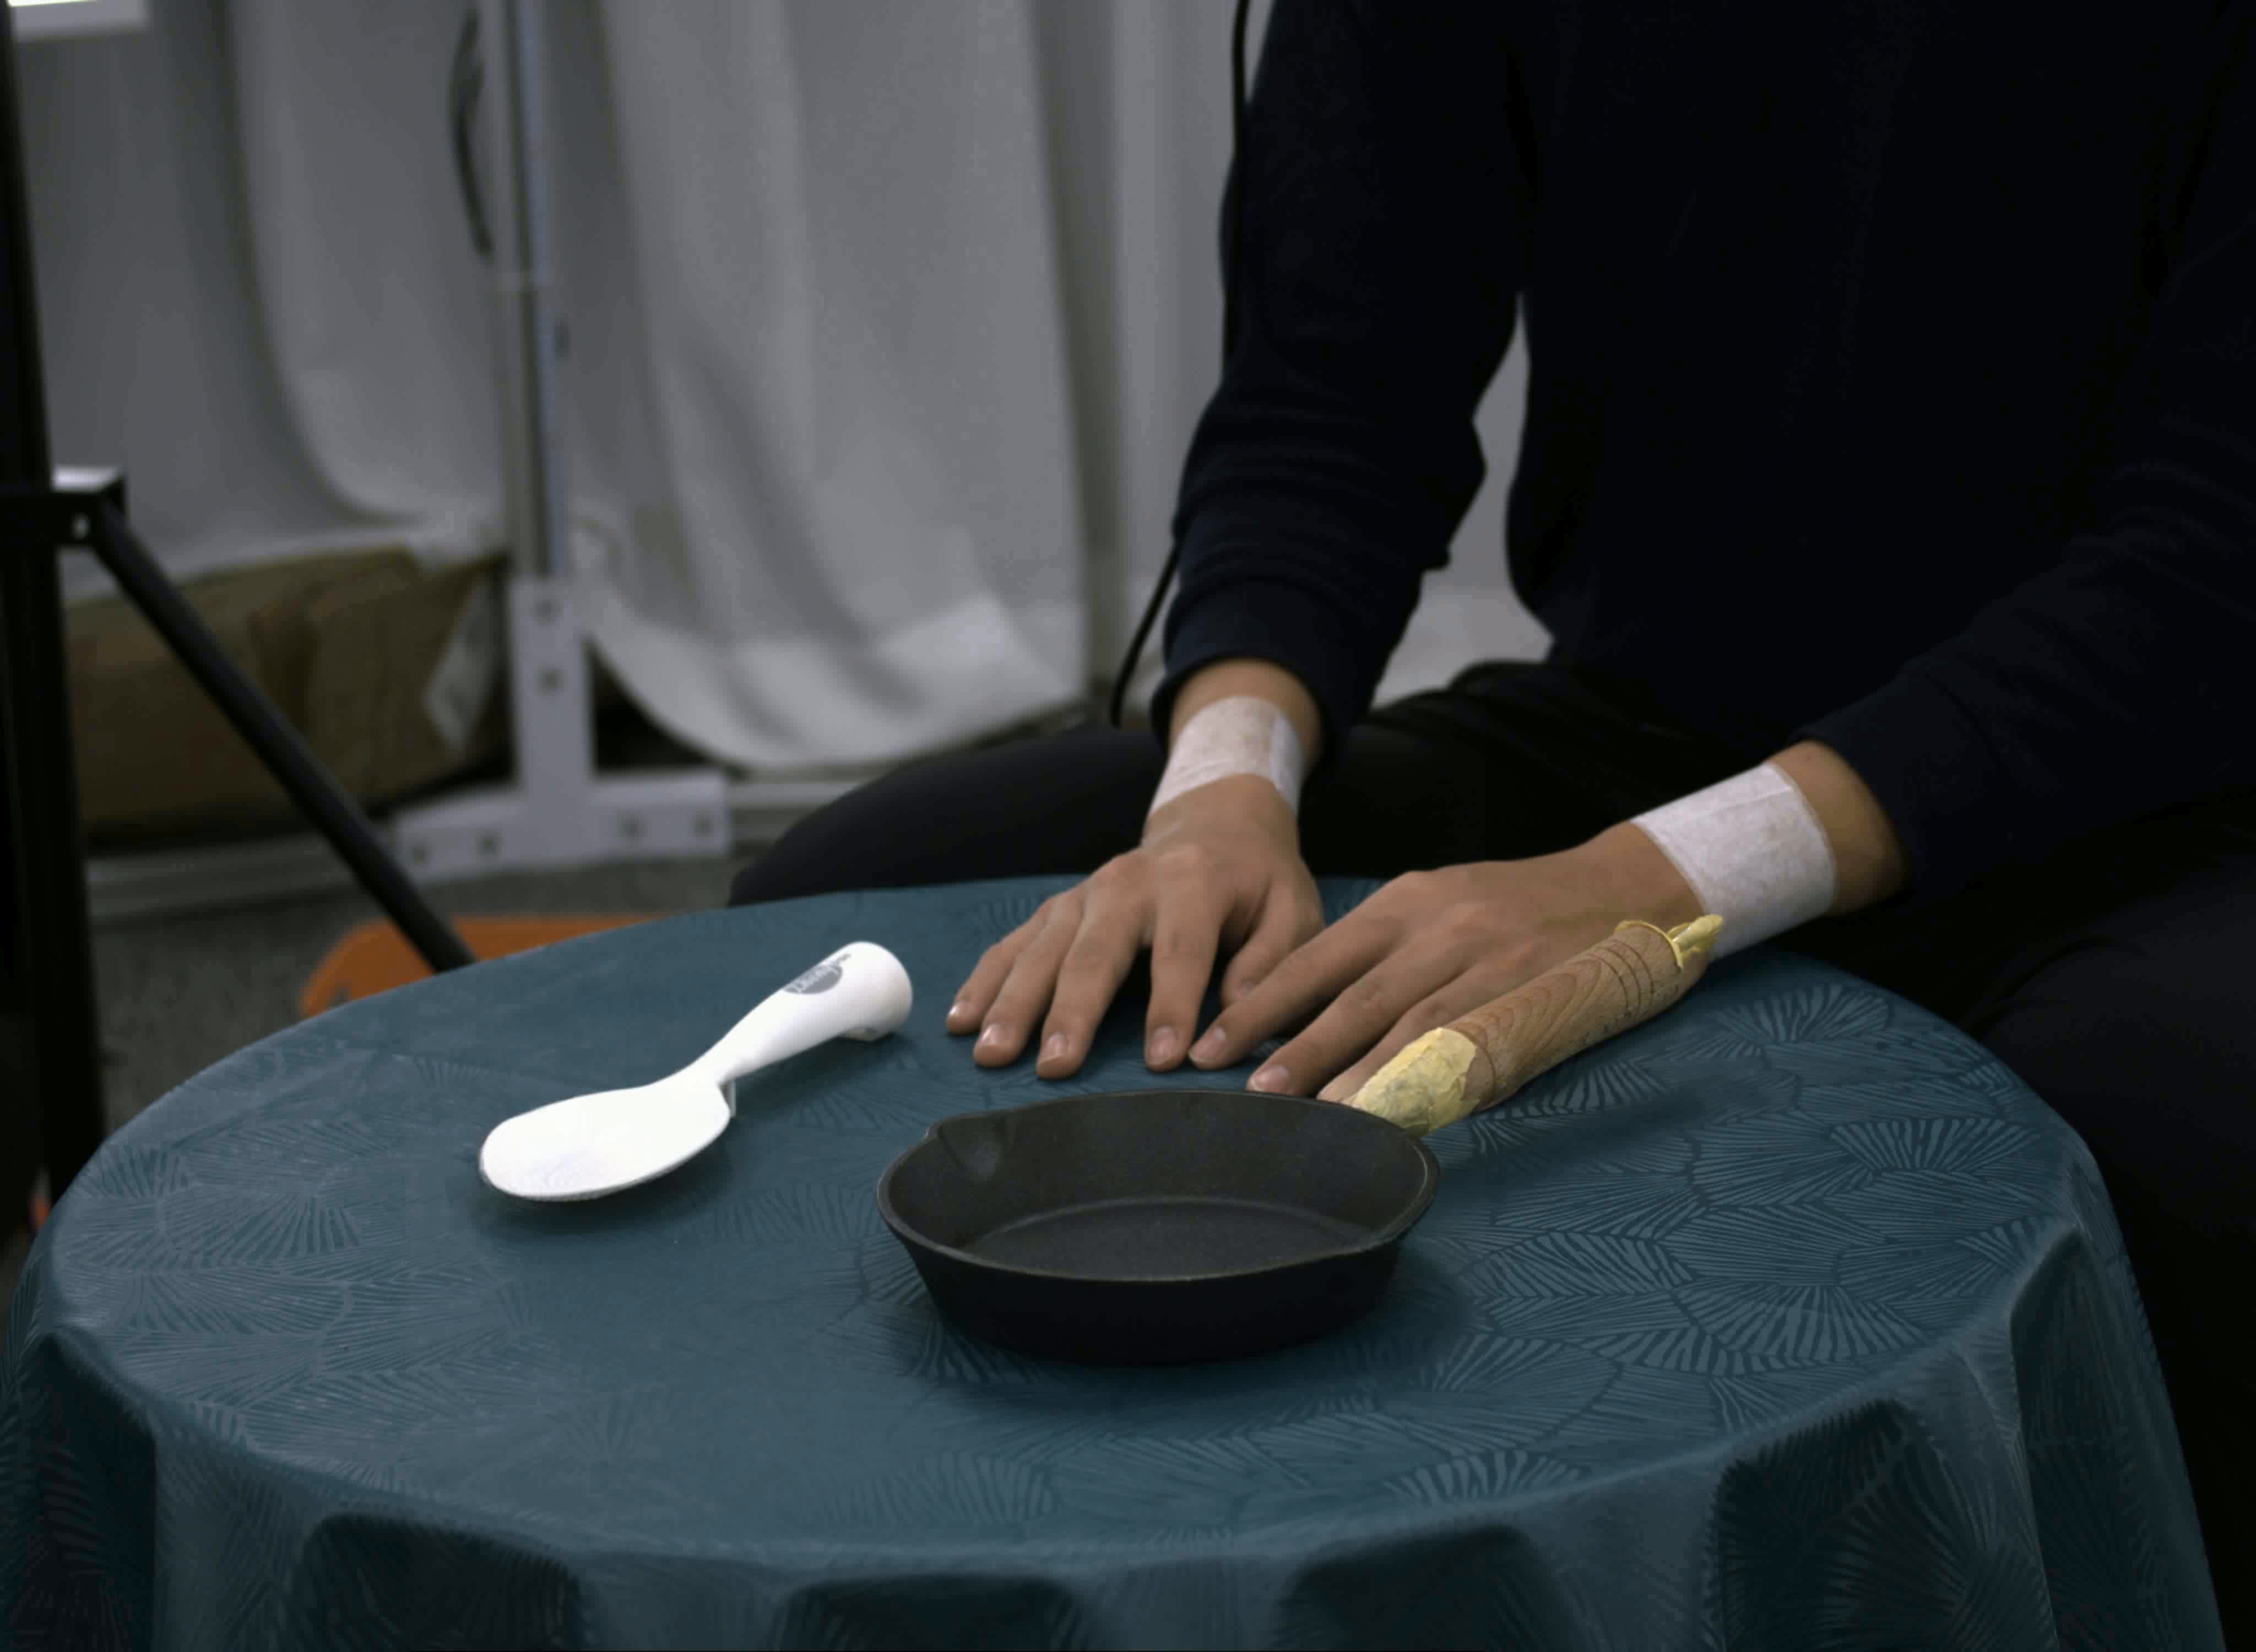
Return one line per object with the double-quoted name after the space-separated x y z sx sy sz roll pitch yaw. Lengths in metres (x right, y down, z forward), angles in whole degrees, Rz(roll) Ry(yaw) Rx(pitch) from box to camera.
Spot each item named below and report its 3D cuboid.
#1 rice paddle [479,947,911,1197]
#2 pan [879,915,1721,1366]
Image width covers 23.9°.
-0.128 0.078 1.633 0.070 0.029 0.202 4 16 28 "rice paddle"
0.069 0.087 1.529 0.317 0.049 0.173 -19 22 -40 "pan"
